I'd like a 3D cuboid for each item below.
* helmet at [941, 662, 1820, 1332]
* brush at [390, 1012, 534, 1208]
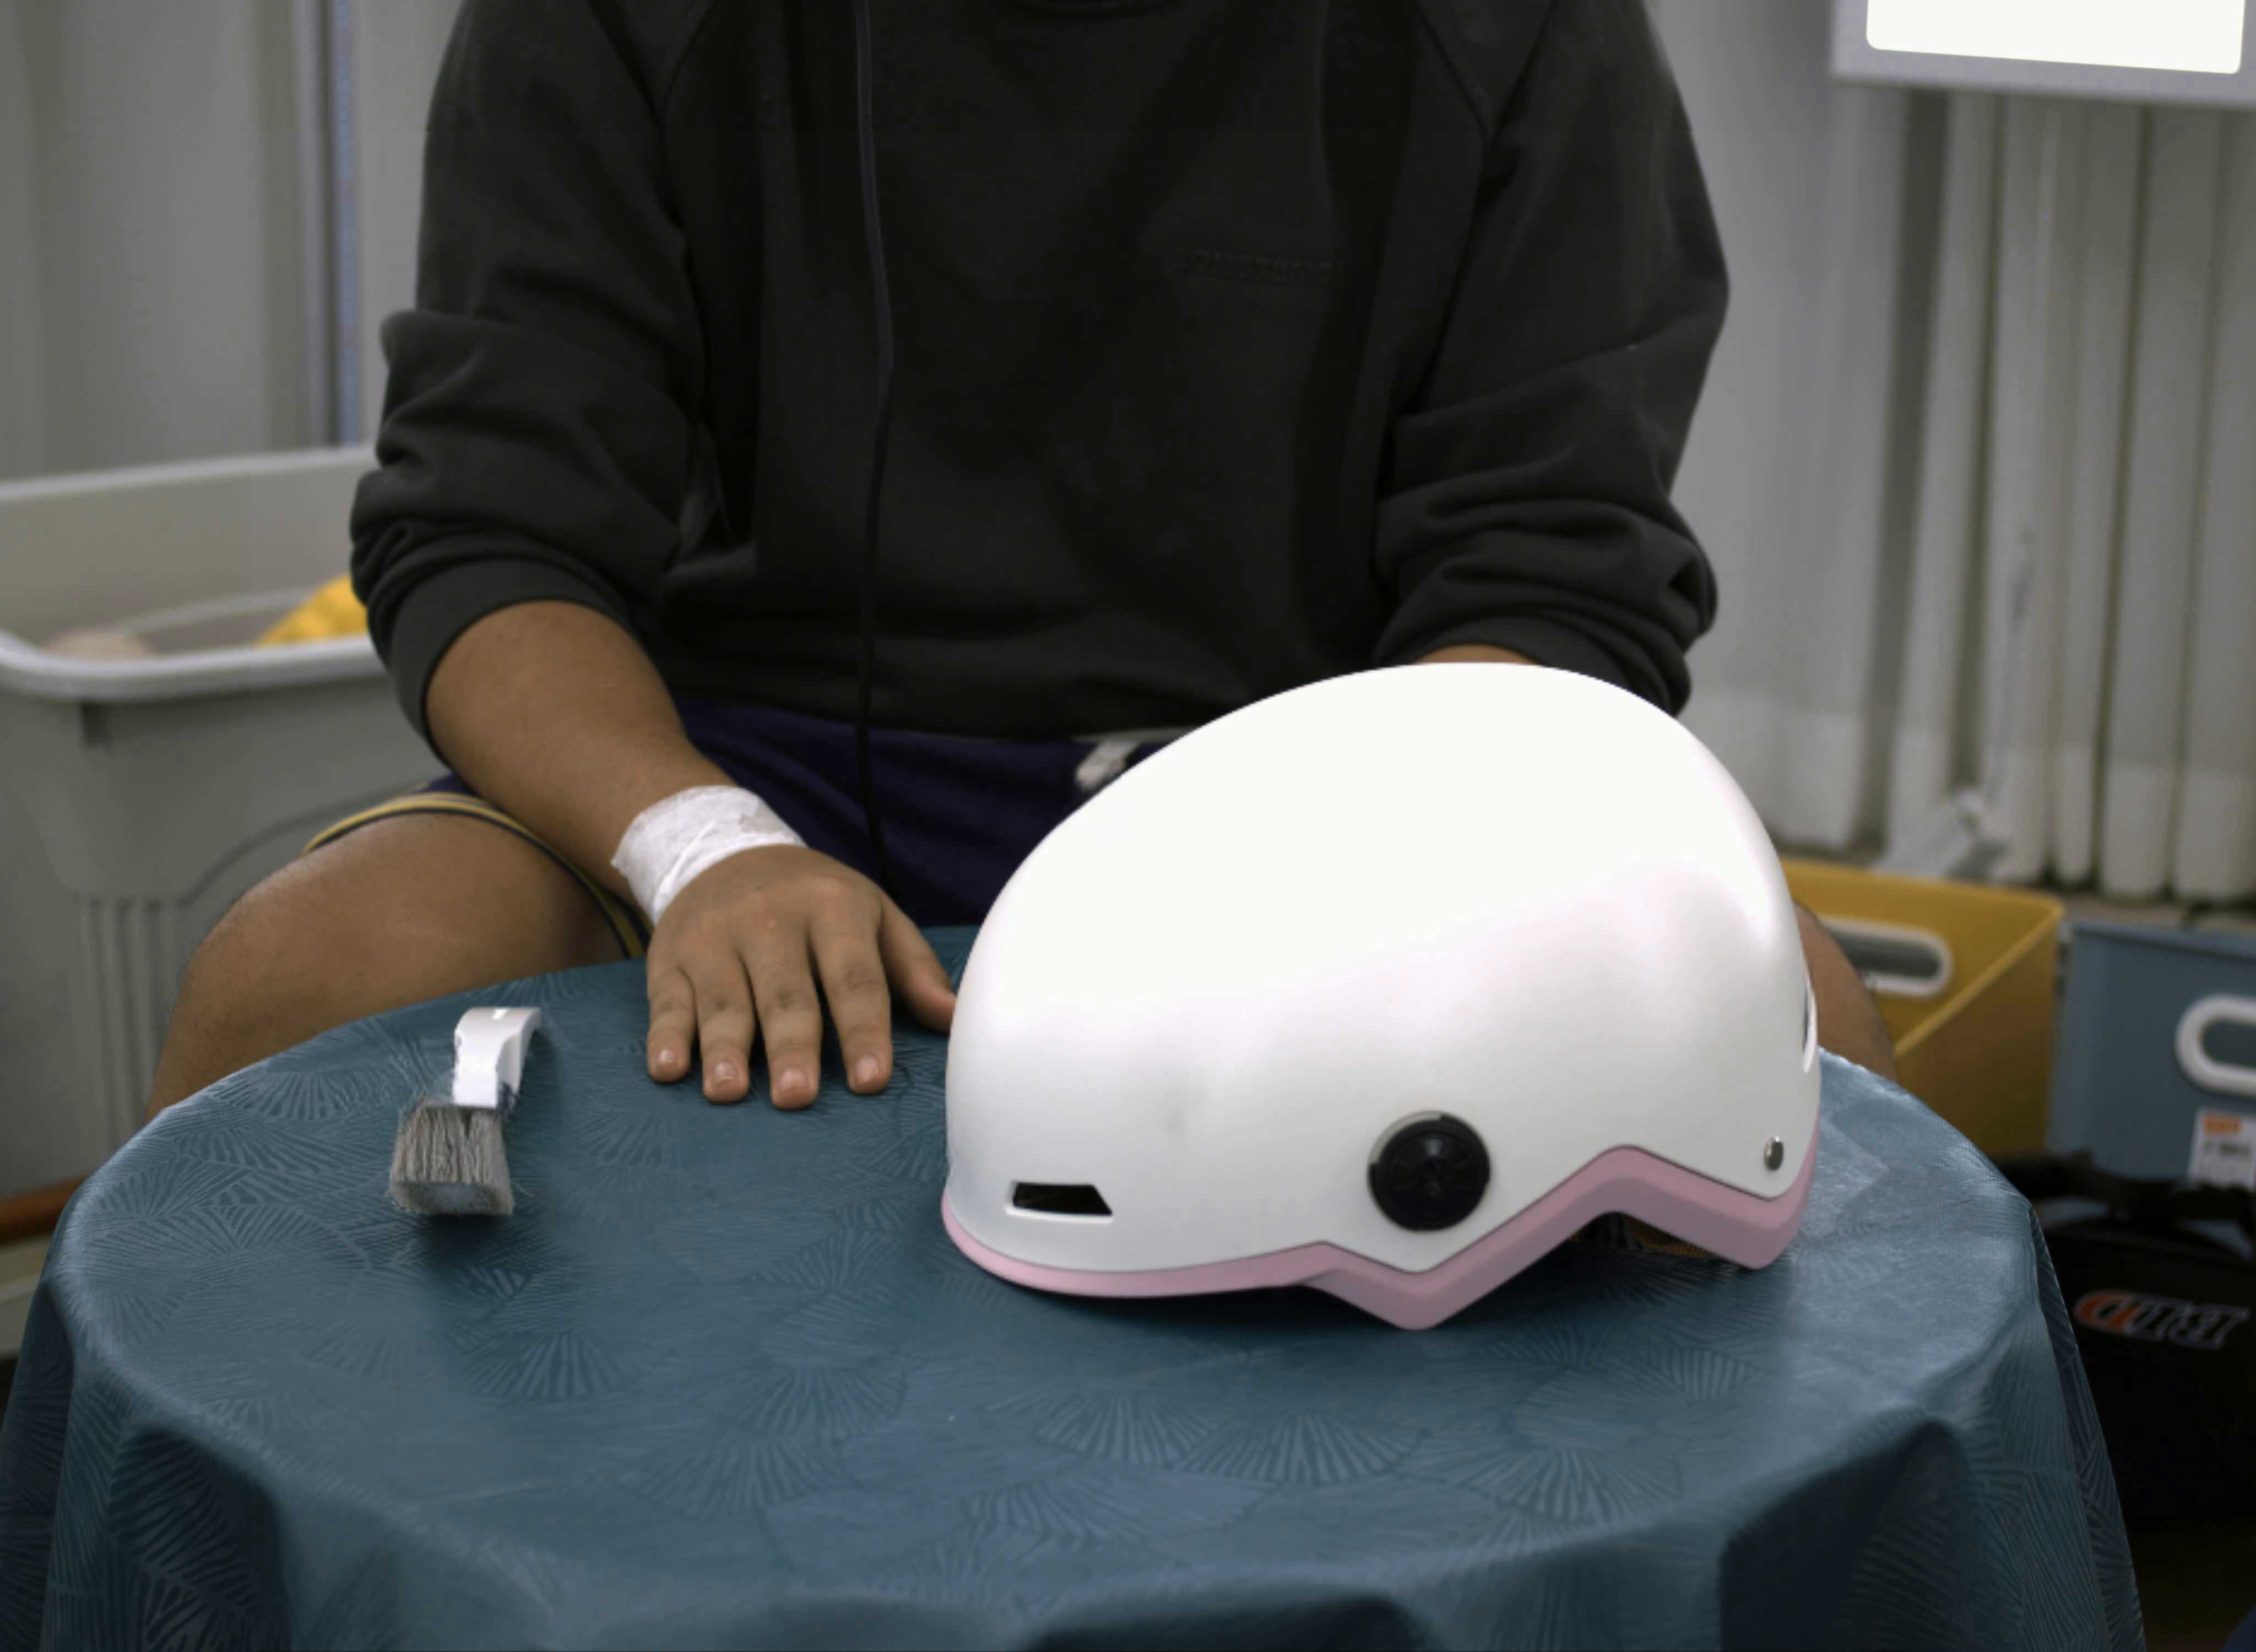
[{"bbox_3d":[0.076,0.038,1.587,0.269,0.168,0.234,-4,17,-15],"label":"helmet"},{"bbox_3d":[-0.206,0.089,1.658,0.034,0.050,0.243,-1,2,-3],"label":"brush"}]
